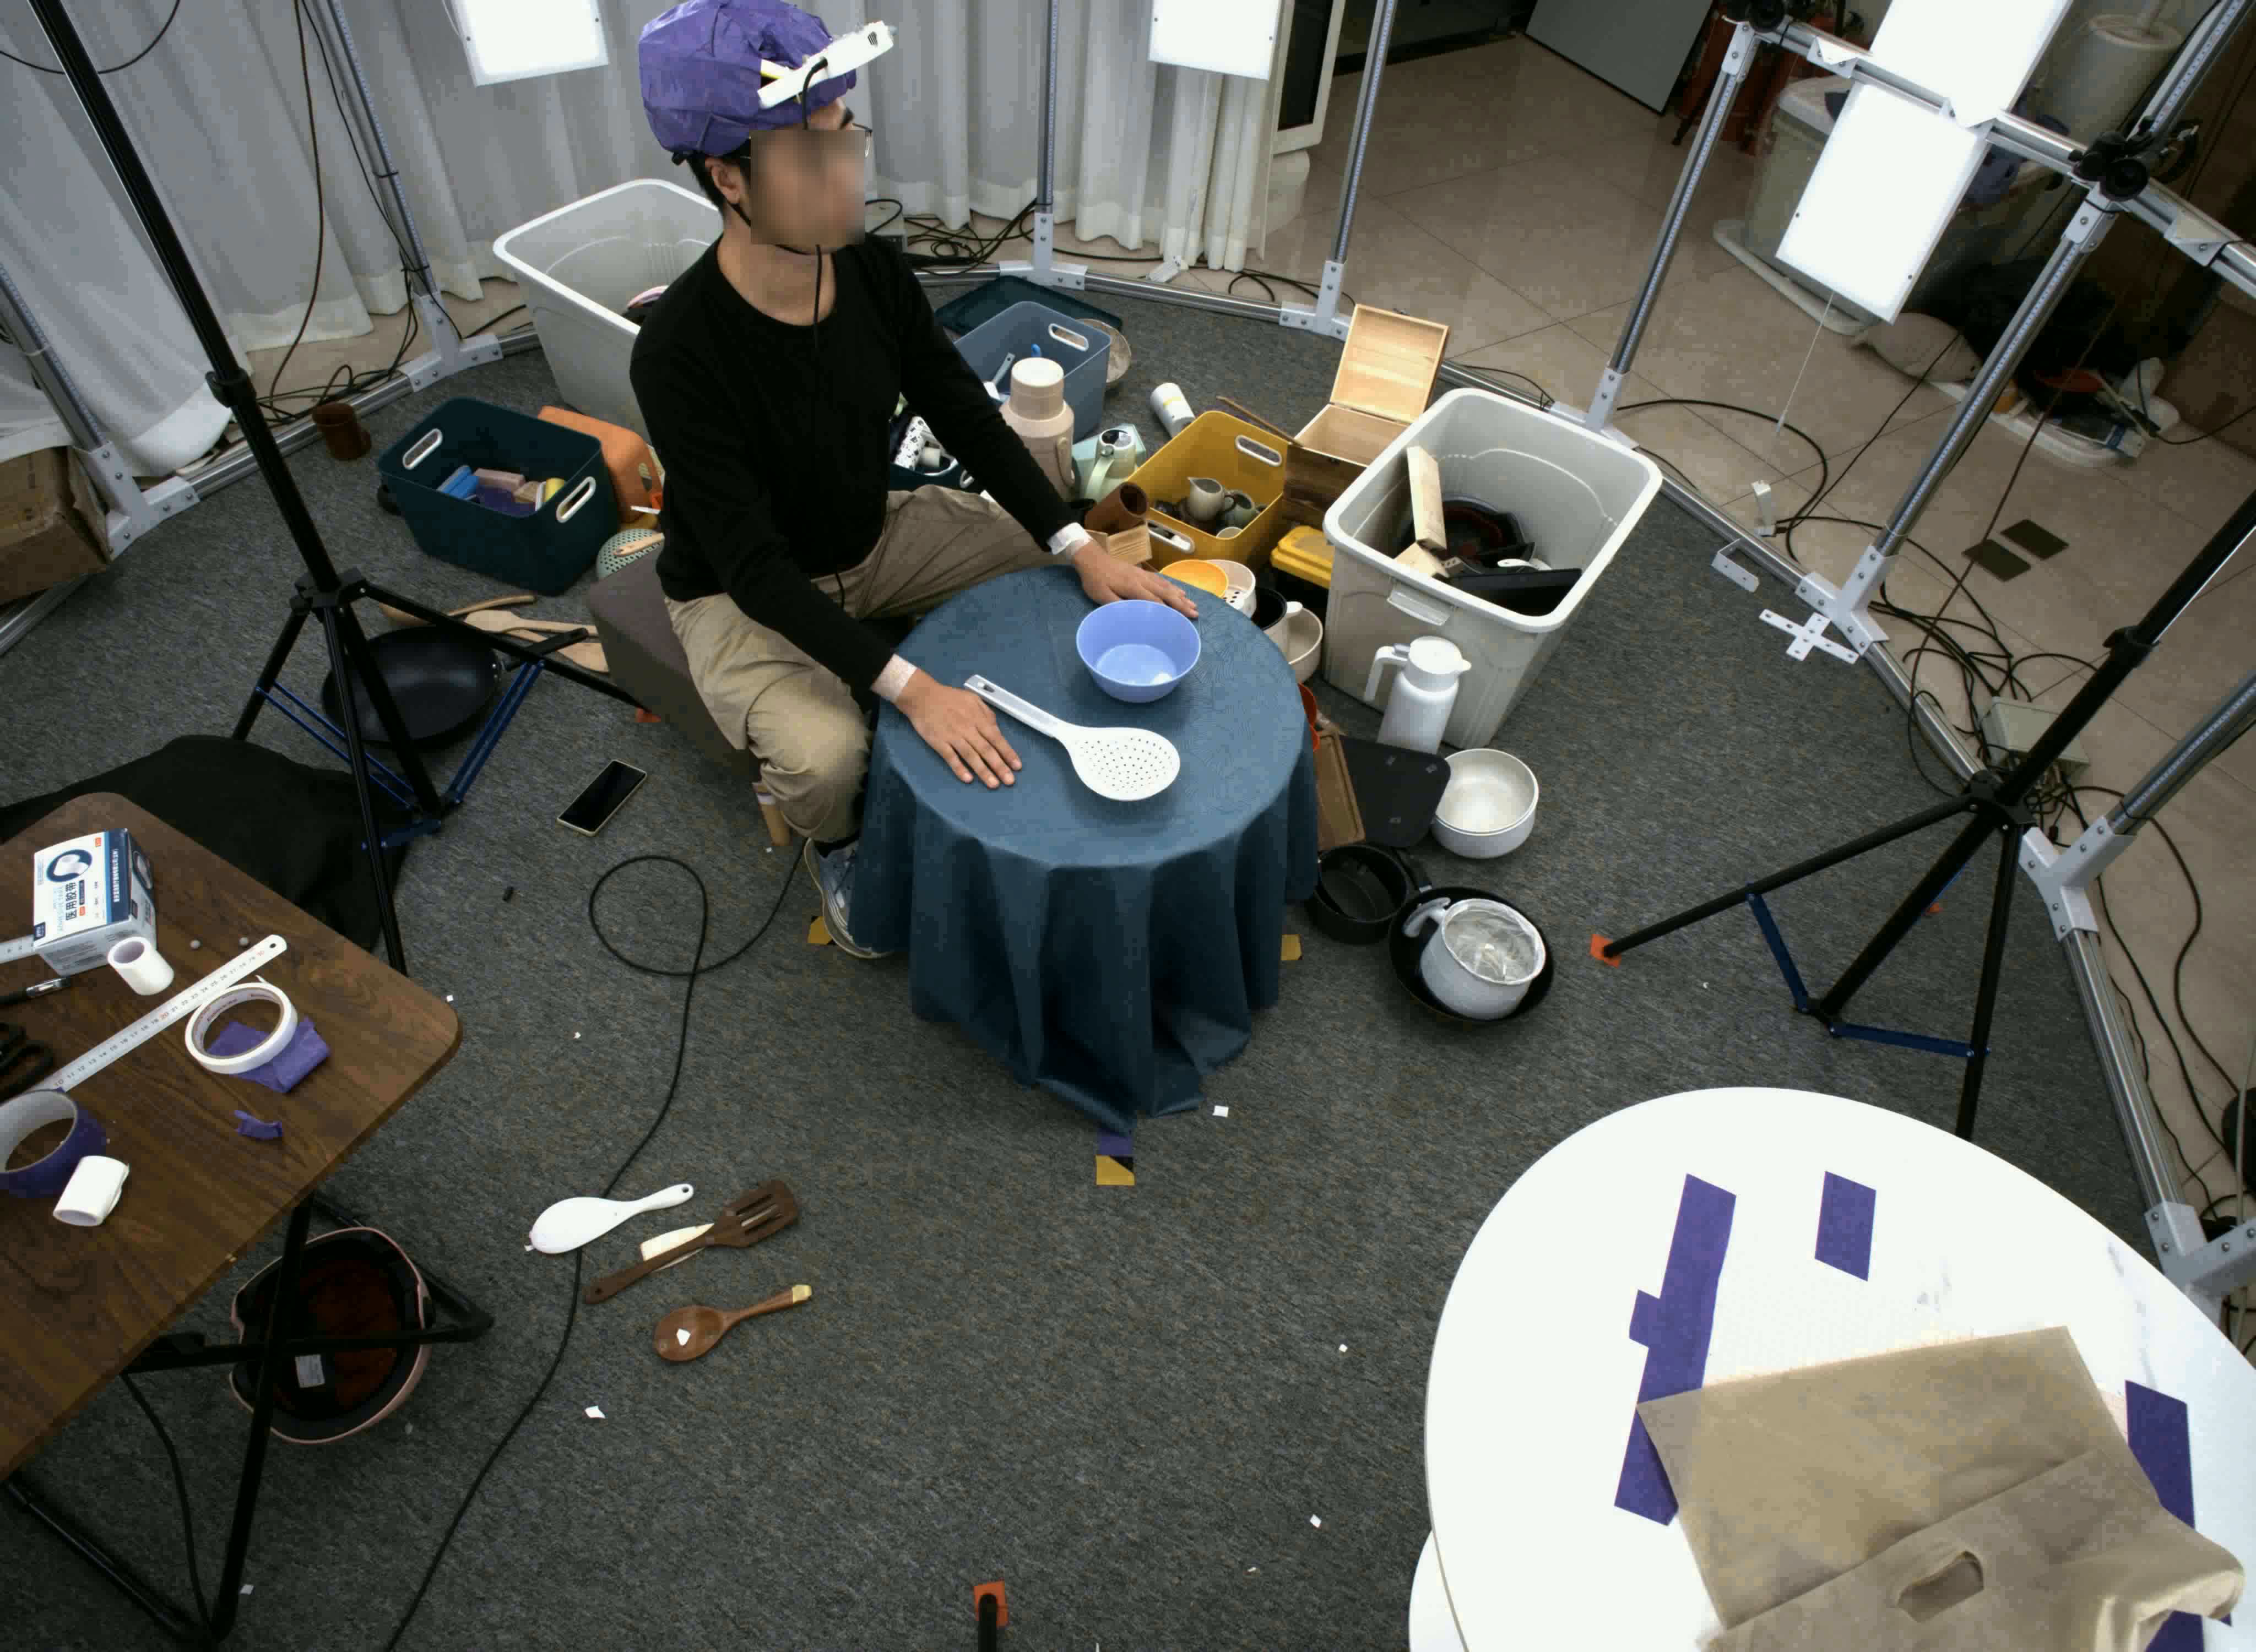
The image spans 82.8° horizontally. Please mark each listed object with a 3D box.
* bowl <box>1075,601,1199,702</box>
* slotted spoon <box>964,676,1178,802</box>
[{"bbox_3d":[0.012,-0.241,1.835,0.176,0.068,0.180,1,49,-2],"label":"bowl"},{"bbox_3d":[-0.087,-0.126,1.744,0.354,0.044,0.138,32,54,23],"label":"slotted spoon"}]
